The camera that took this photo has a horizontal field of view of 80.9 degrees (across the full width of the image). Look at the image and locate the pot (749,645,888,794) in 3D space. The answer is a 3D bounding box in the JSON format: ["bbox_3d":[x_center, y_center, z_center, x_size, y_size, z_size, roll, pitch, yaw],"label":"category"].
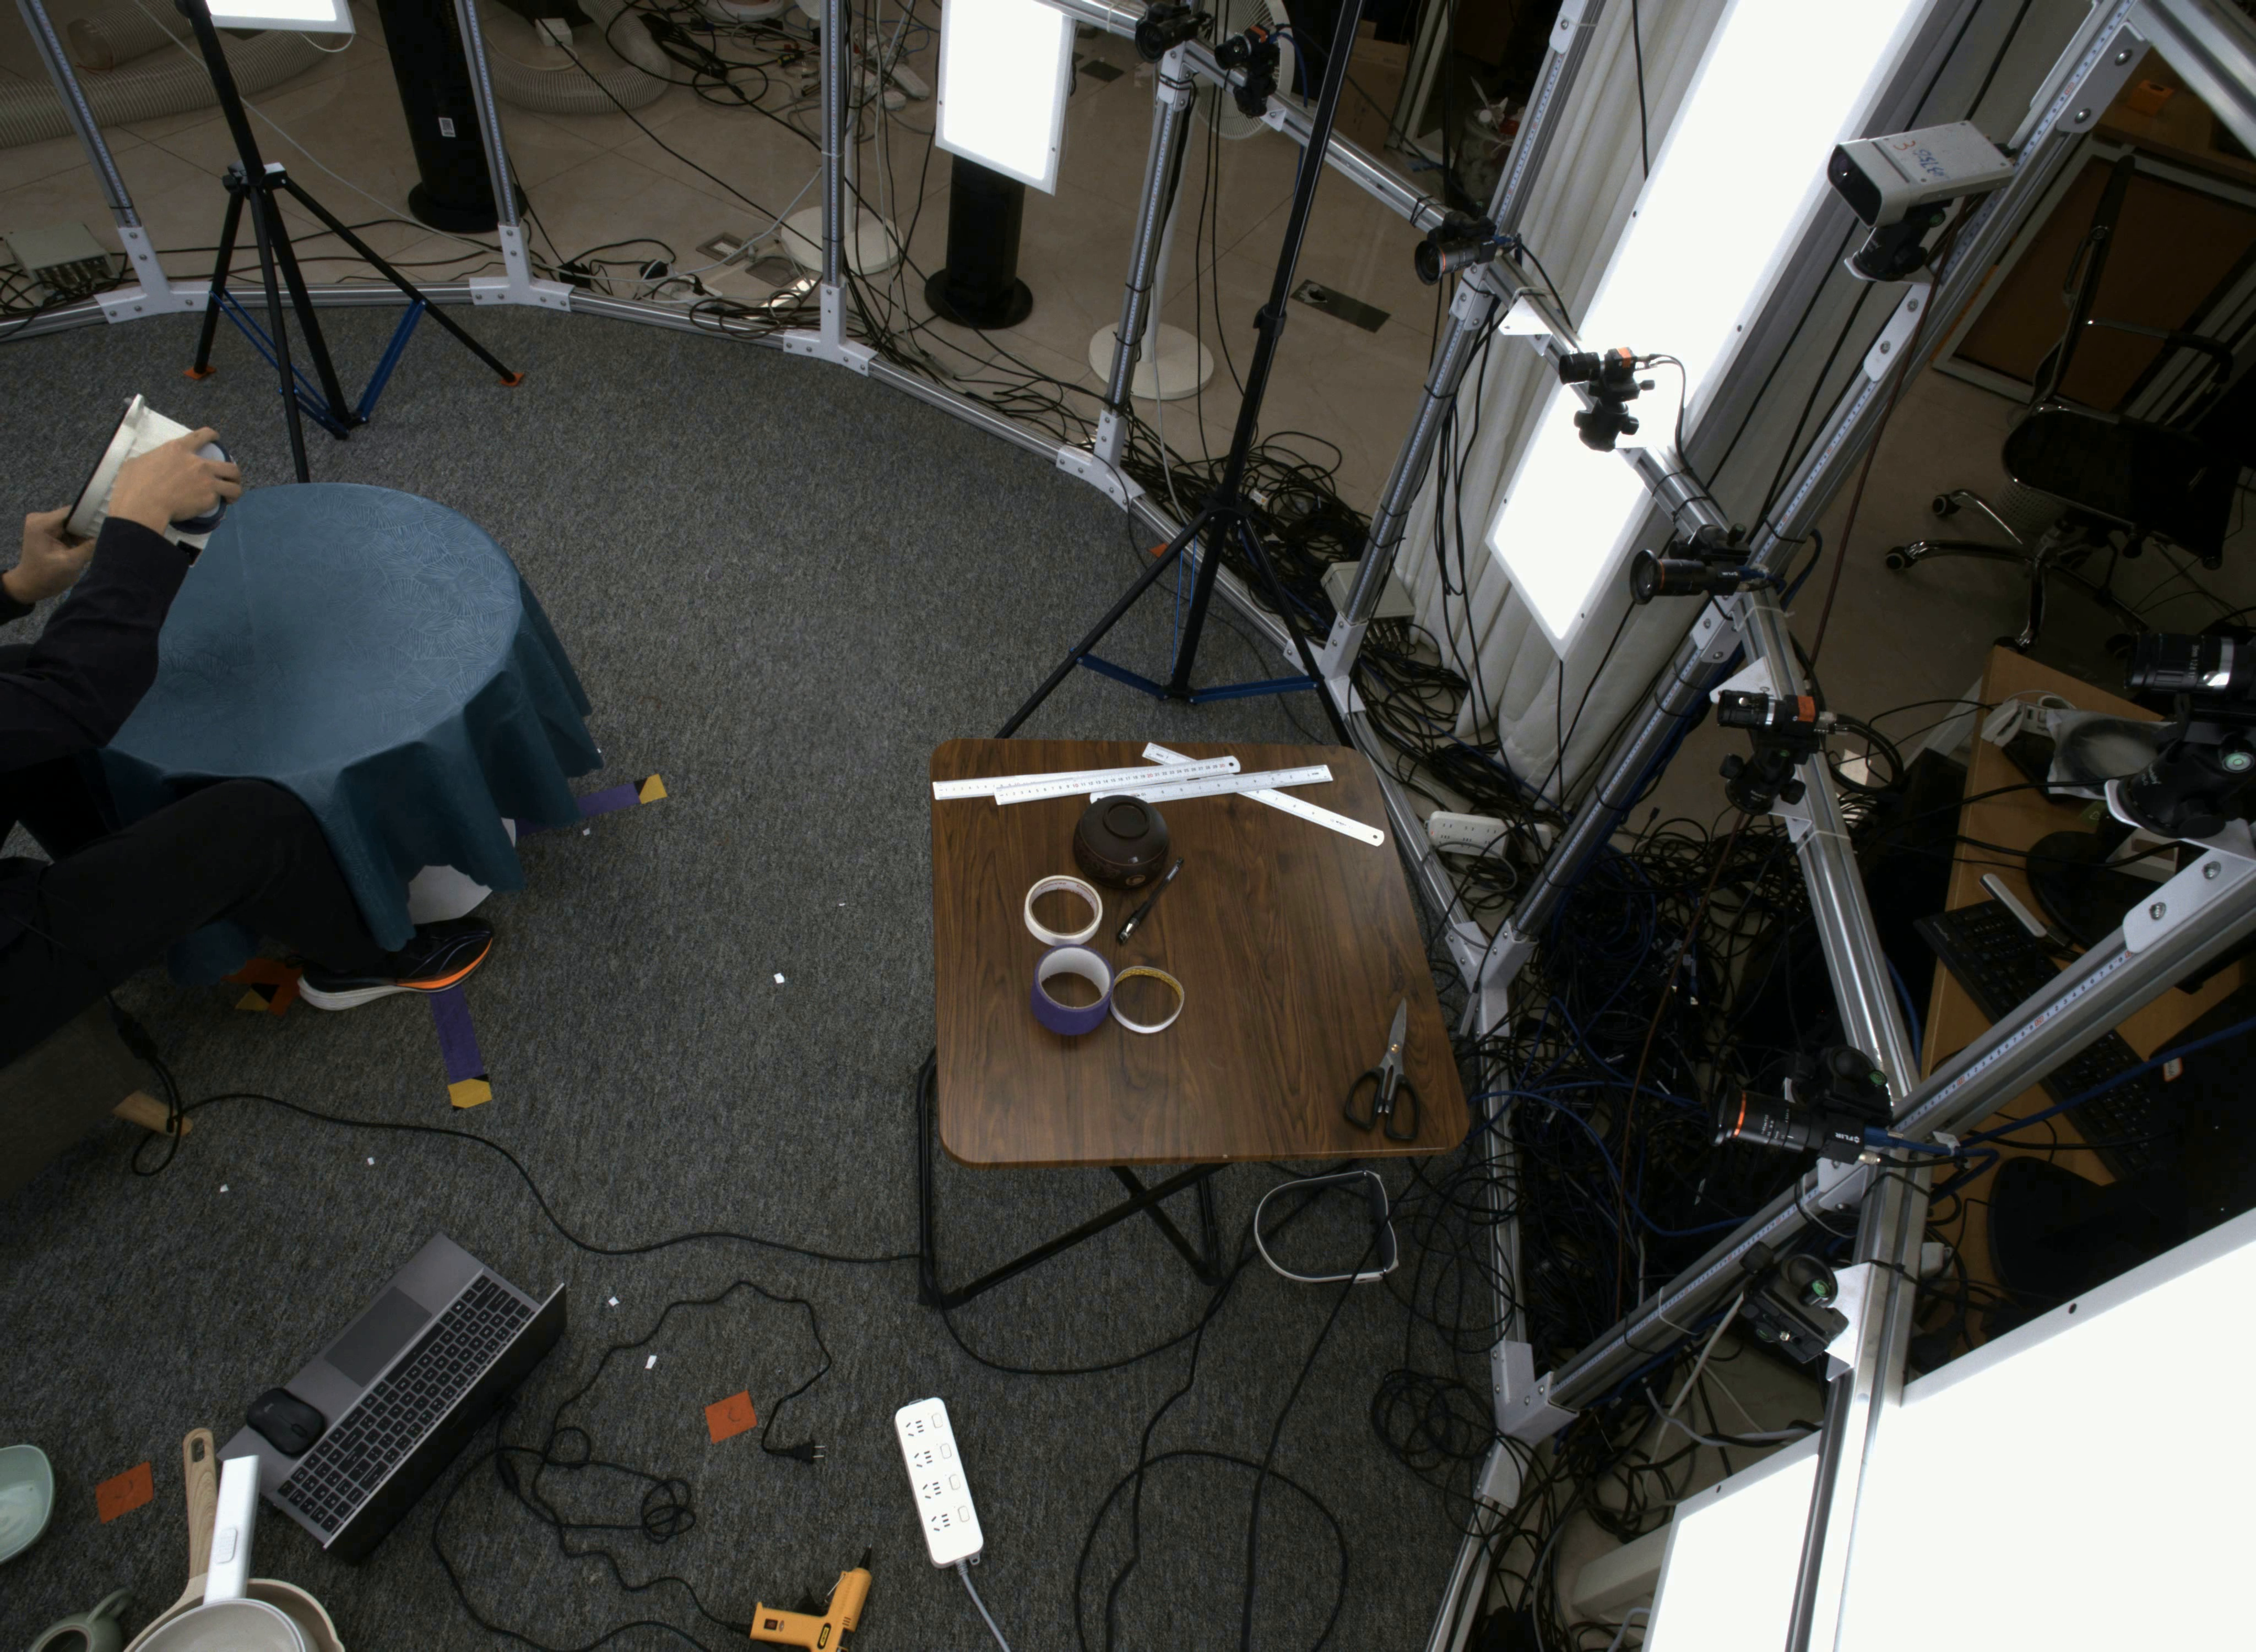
[{"bbox_3d":[-0.464,-0.146,1.990,0.143,0.240,0.190,48,24,0],"label":"pot"}]

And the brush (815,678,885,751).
[{"bbox_3d":[-0.404,-0.159,1.873,0.069,0.060,0.121,44,53,-9],"label":"brush"}]
